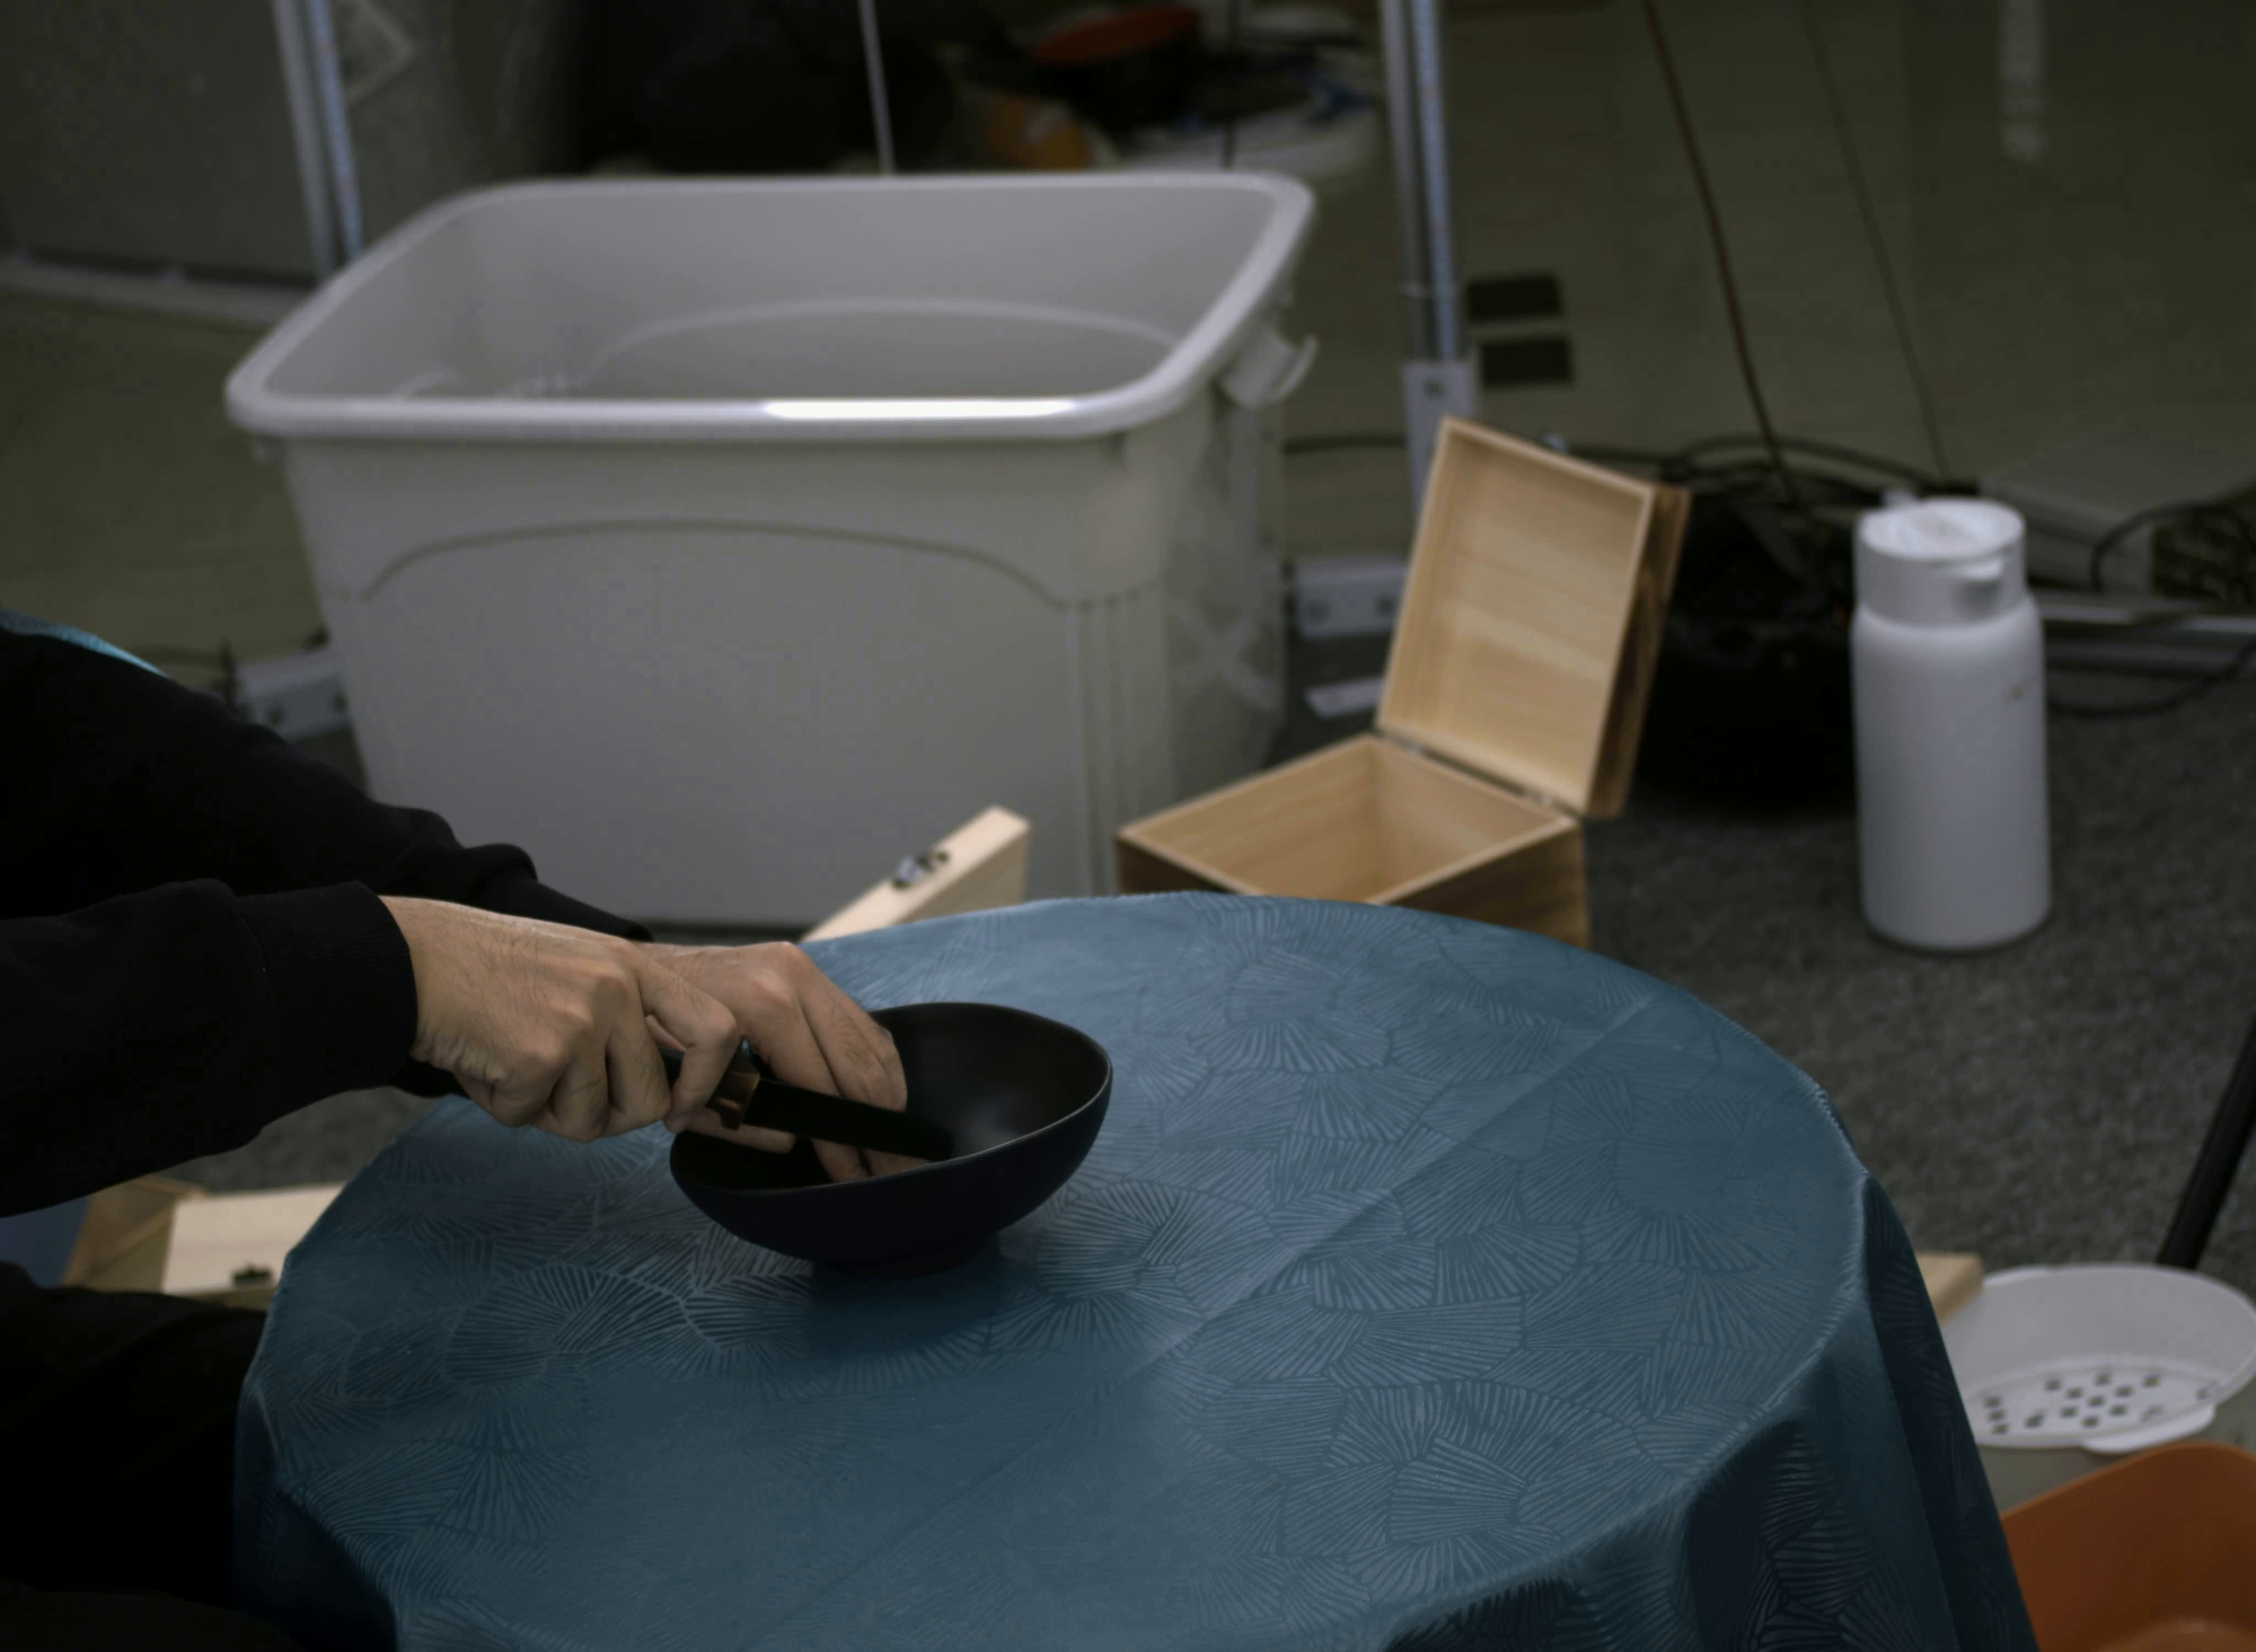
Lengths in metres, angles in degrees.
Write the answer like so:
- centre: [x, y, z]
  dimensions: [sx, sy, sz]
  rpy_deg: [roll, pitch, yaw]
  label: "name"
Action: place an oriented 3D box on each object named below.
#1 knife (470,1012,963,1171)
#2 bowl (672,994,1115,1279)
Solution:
- centre: [-0.138, 0.102, 2.094]
  dimensions: [0.226, 0.026, 0.017]
  rpy_deg: [16, 38, -20]
  label: "knife"
- centre: [-0.084, 0.126, 2.119]
  dimensions: [0.170, 0.068, 0.135]
  rpy_deg: [-14, 26, -12]
  label: "bowl"
